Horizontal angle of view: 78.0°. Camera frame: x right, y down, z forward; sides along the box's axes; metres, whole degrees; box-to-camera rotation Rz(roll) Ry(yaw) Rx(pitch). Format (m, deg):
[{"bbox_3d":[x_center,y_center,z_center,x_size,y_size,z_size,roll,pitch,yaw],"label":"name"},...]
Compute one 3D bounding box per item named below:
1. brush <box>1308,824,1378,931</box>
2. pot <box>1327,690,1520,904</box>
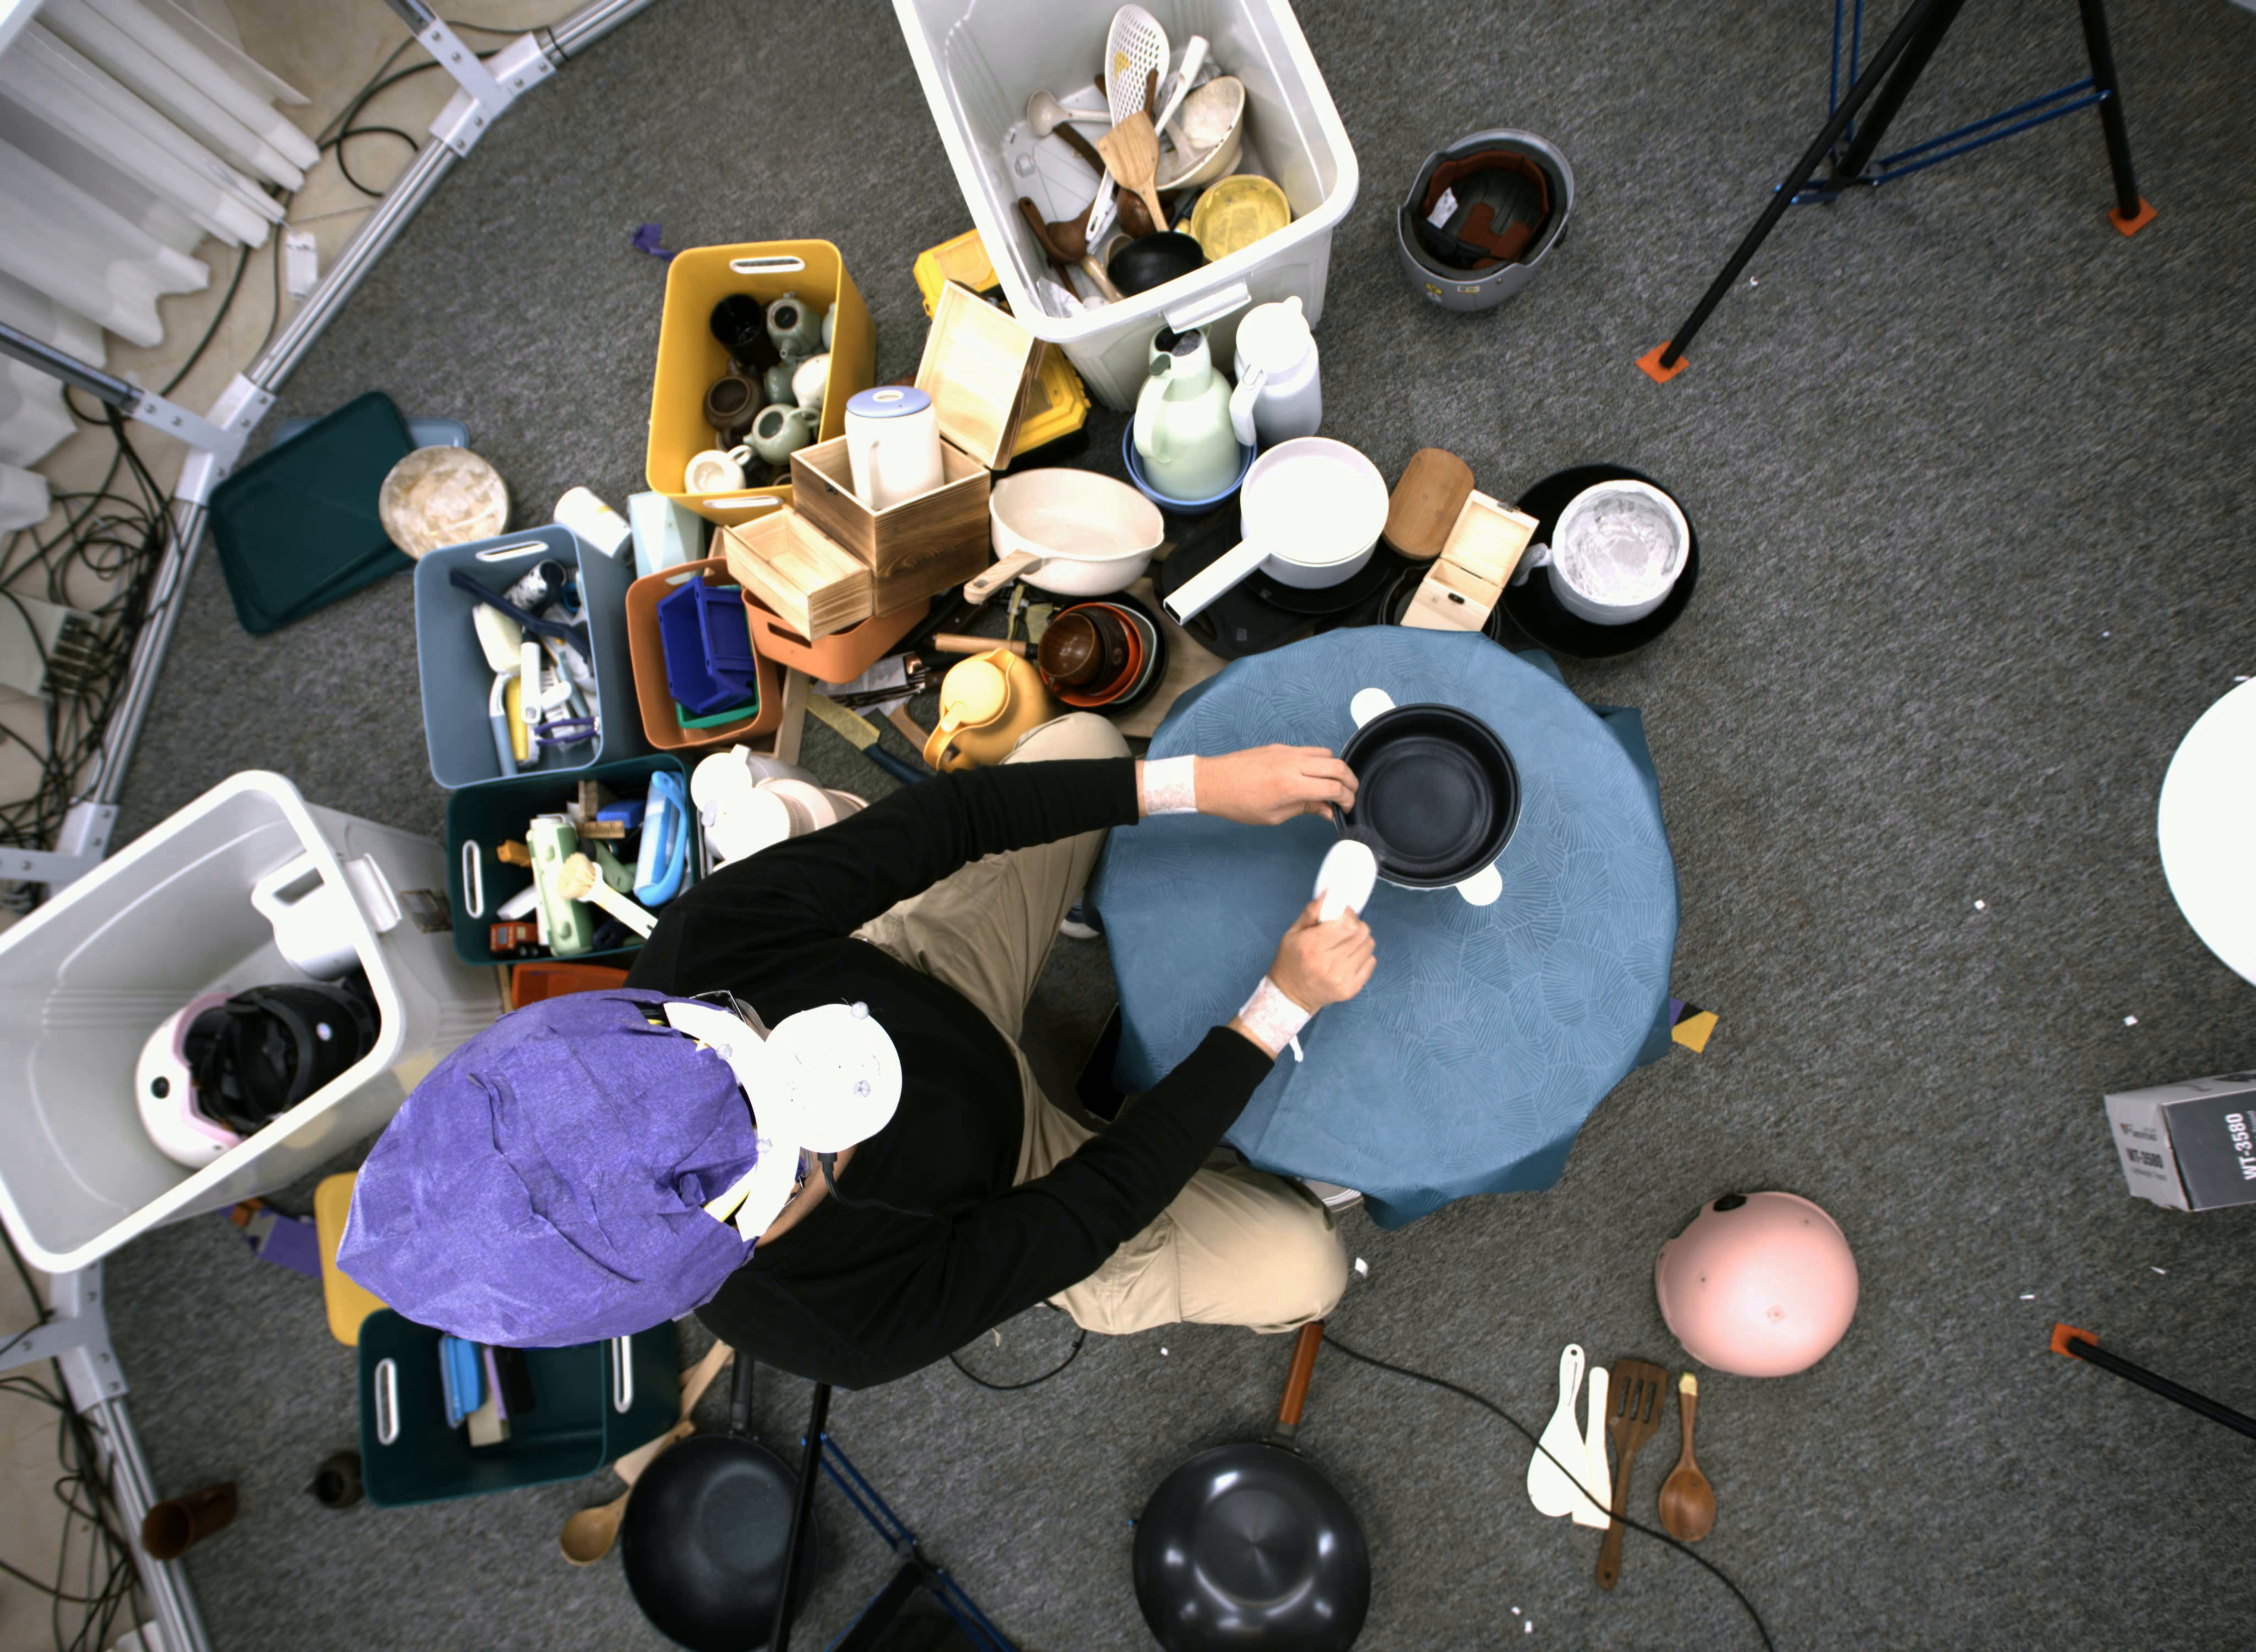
[{"bbox_3d":[0.200,0.056,1.319,0.050,0.070,0.102,22,131,10],"label":"brush"},{"bbox_3d":[0.300,-0.029,1.390,0.192,0.142,0.239,-32,82,9],"label":"pot"}]
